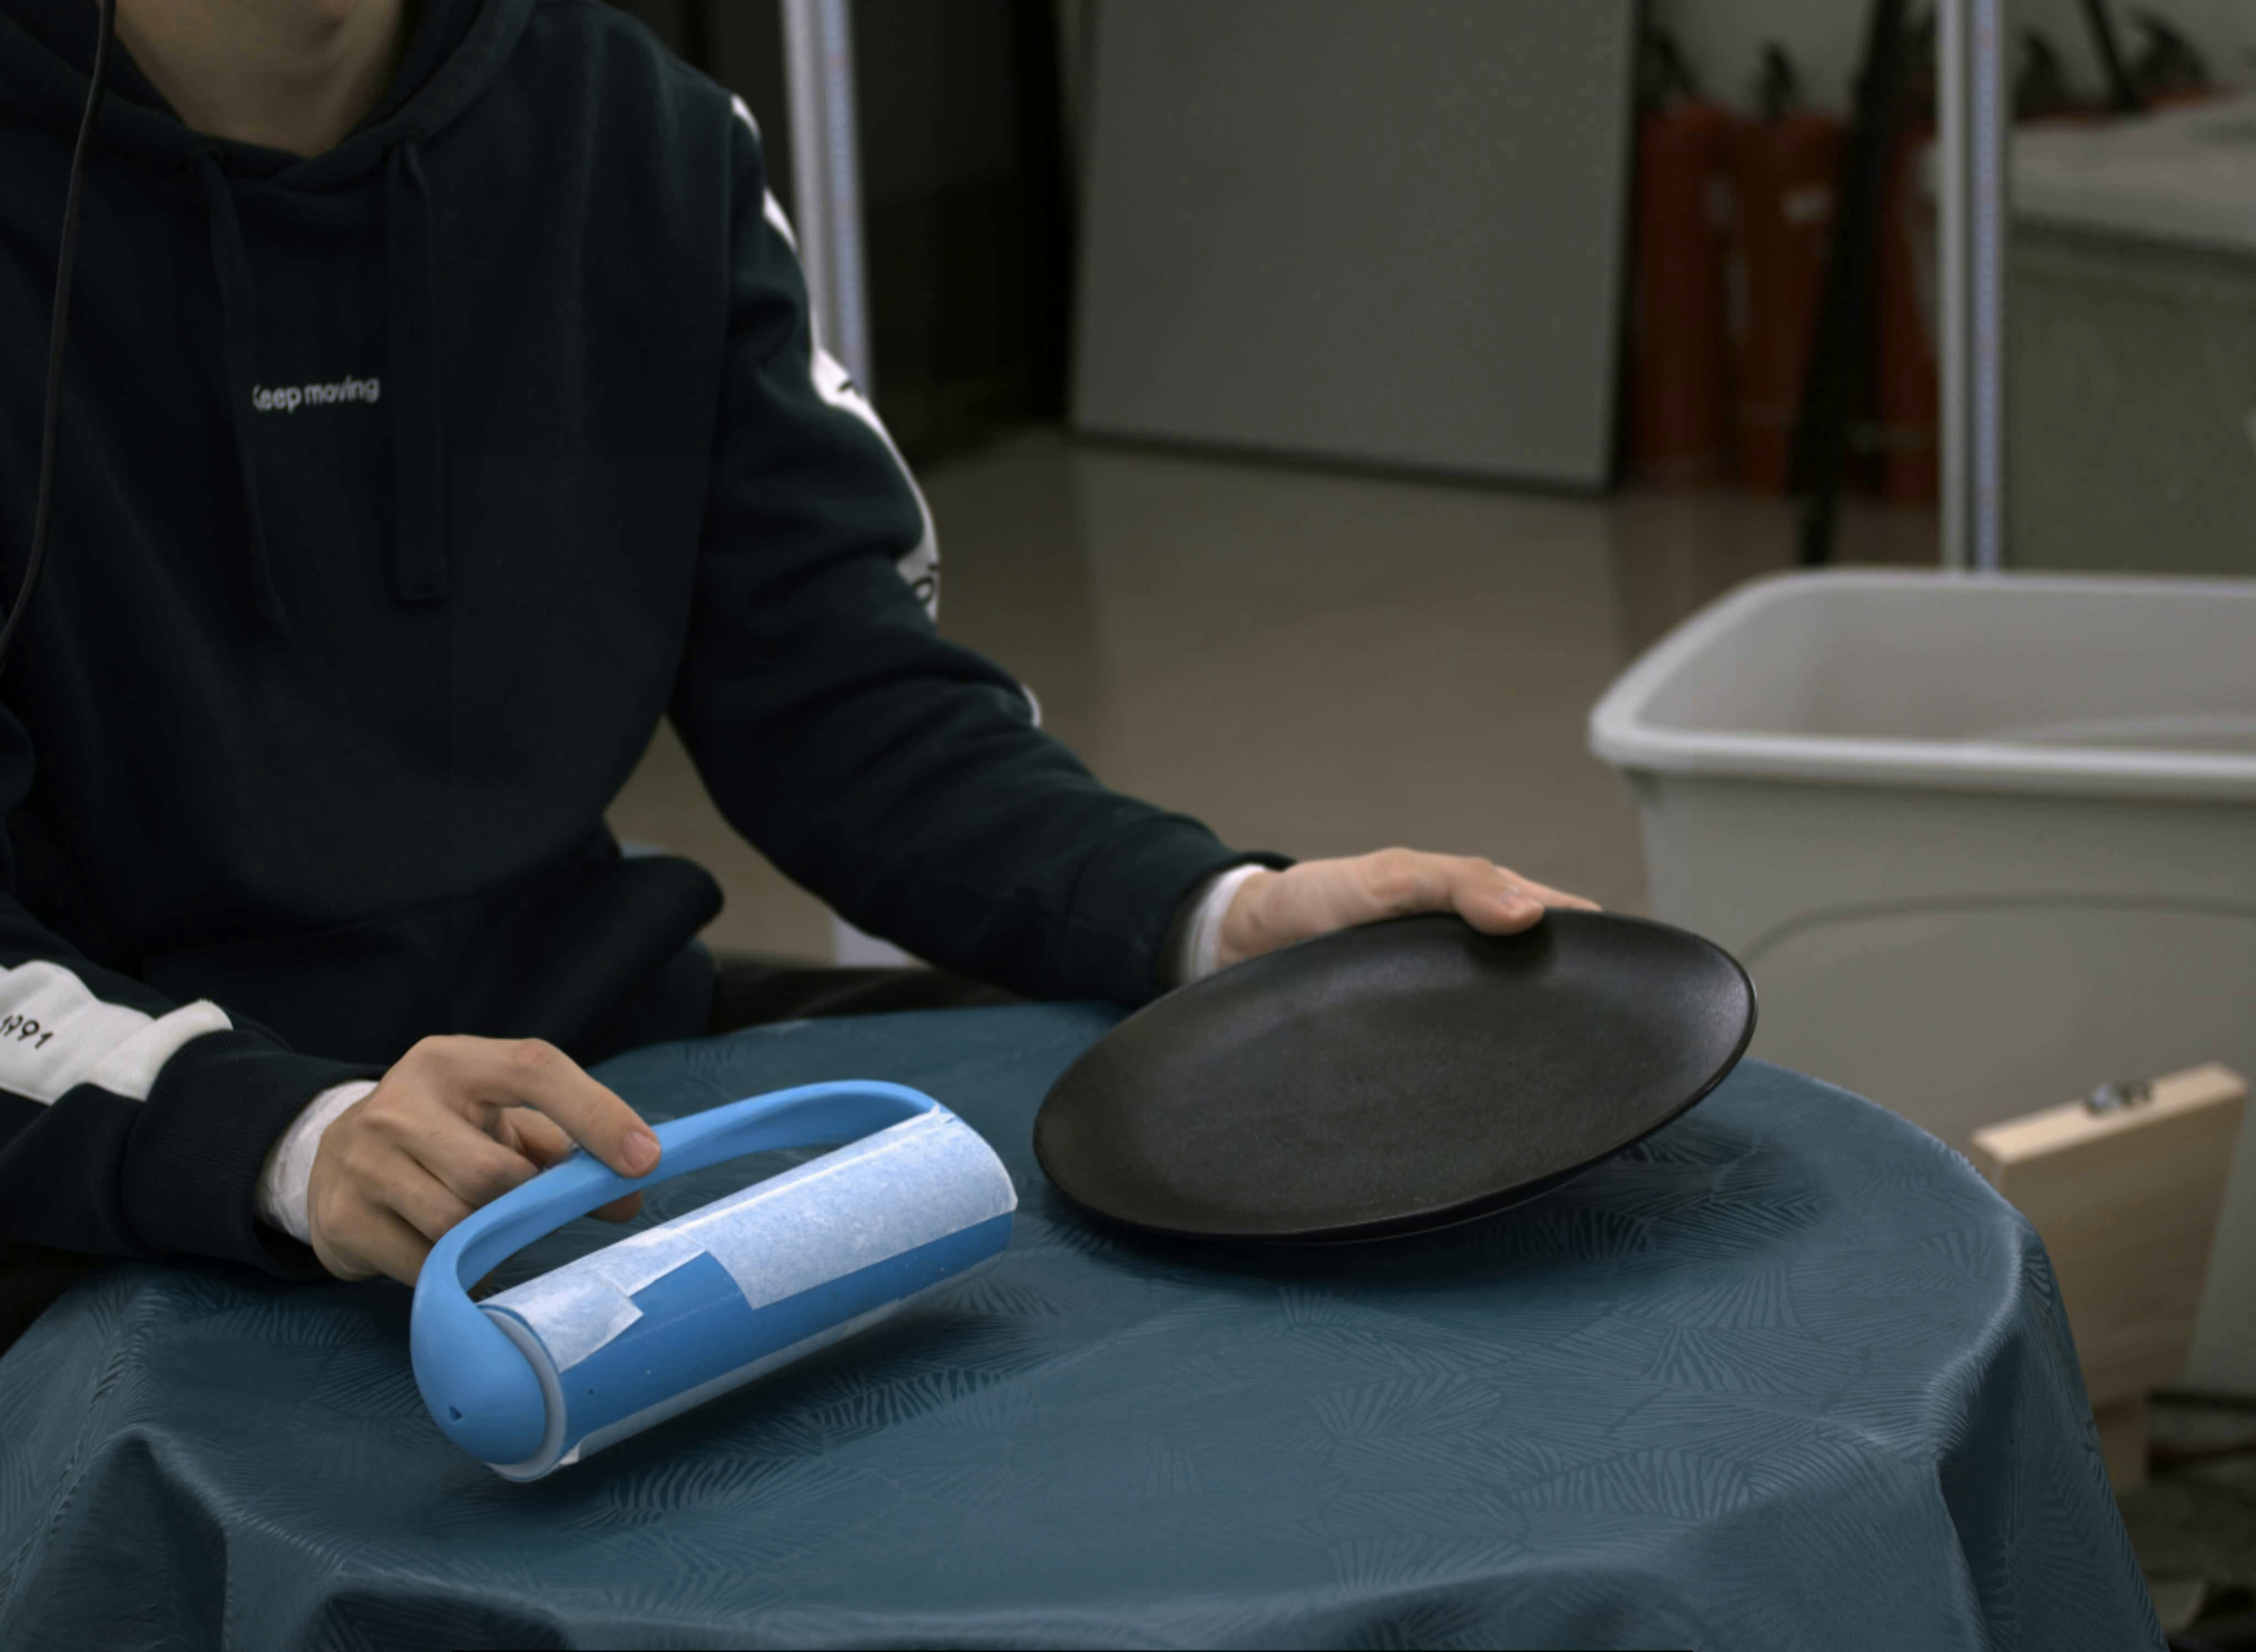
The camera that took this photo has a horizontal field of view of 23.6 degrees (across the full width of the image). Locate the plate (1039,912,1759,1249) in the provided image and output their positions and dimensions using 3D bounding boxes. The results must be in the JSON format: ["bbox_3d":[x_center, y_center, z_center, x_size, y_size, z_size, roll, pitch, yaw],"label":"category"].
[{"bbox_3d":[0.090,0.087,1.765,0.242,0.023,0.245,-13,19,4],"label":"plate"}]

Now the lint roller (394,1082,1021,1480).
[{"bbox_3d":[-0.159,0.129,1.627,0.181,0.068,0.225,7,20,38],"label":"lint roller"}]
